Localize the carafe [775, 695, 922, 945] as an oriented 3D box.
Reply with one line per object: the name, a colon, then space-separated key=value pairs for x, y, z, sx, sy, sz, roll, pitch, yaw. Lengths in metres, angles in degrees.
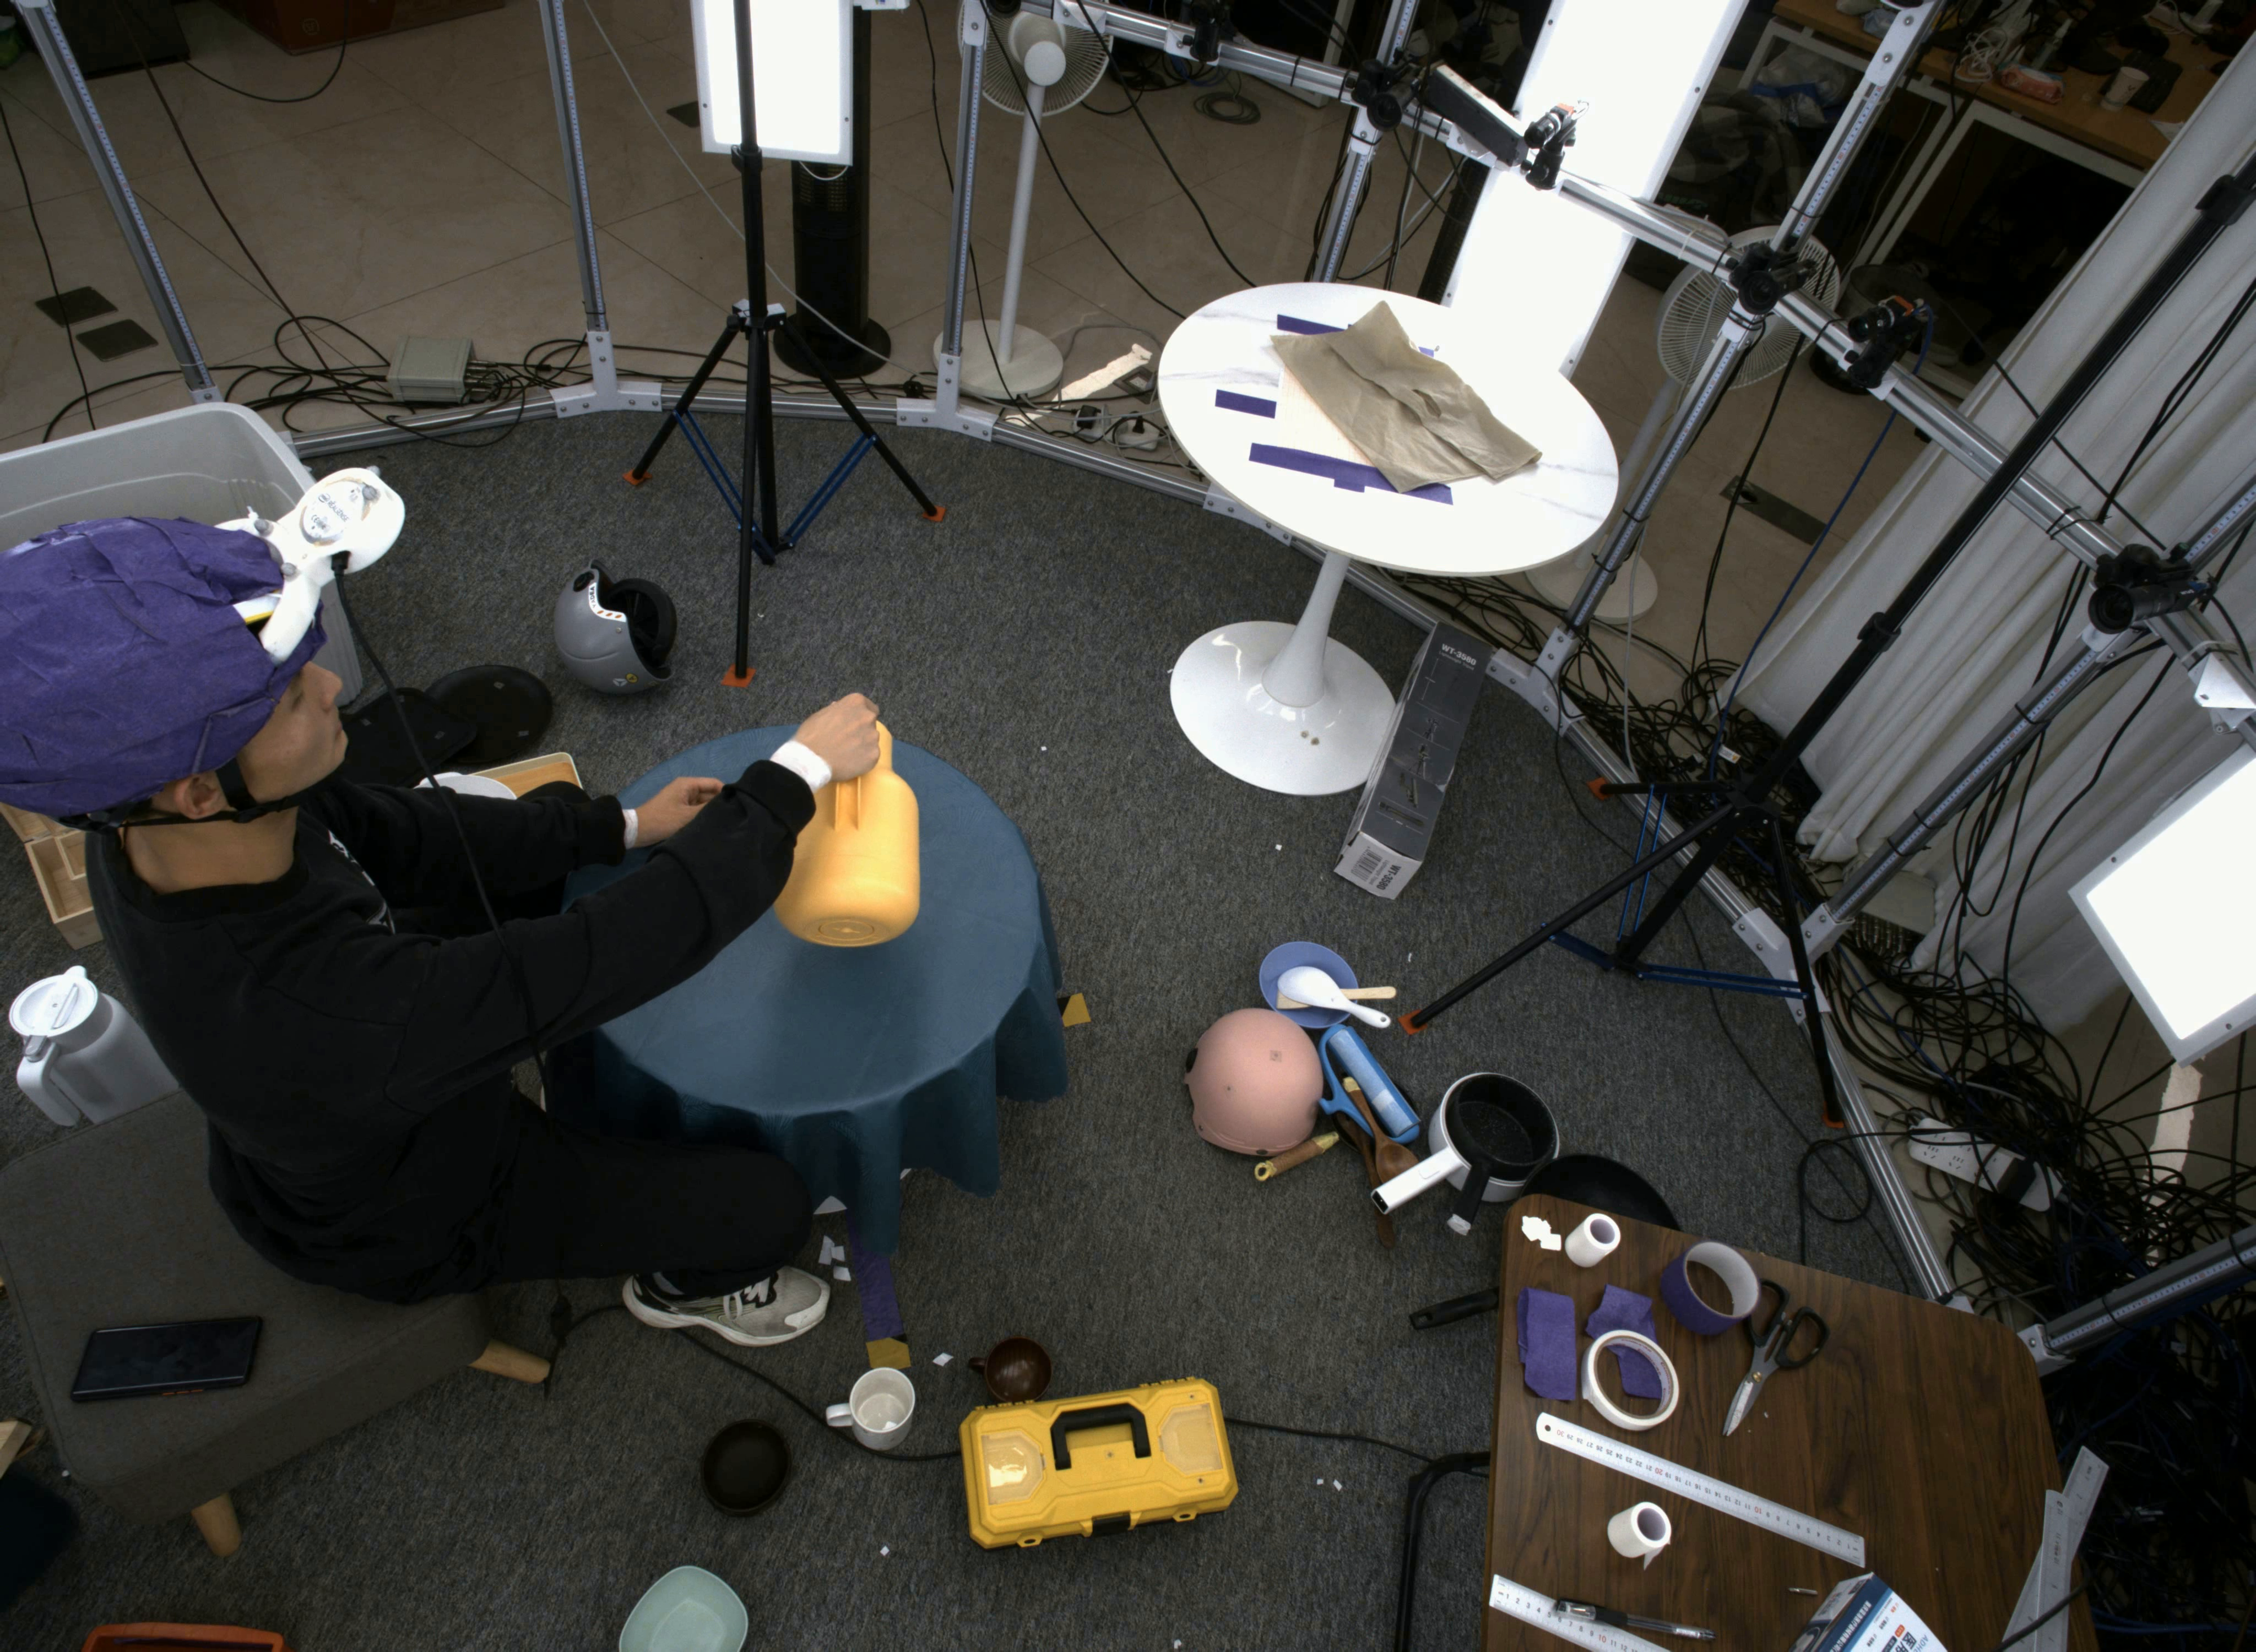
carafe: x=-0.321 y=-0.016 z=1.475 sx=0.163 sy=0.205 sz=0.257 roll=-3 pitch=66 yaw=-10

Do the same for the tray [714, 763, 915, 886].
tray: x=-0.409 y=-0.011 z=1.702 sx=0.252 sy=0.023 sz=0.128 roll=-23 pitch=71 yaw=-31
